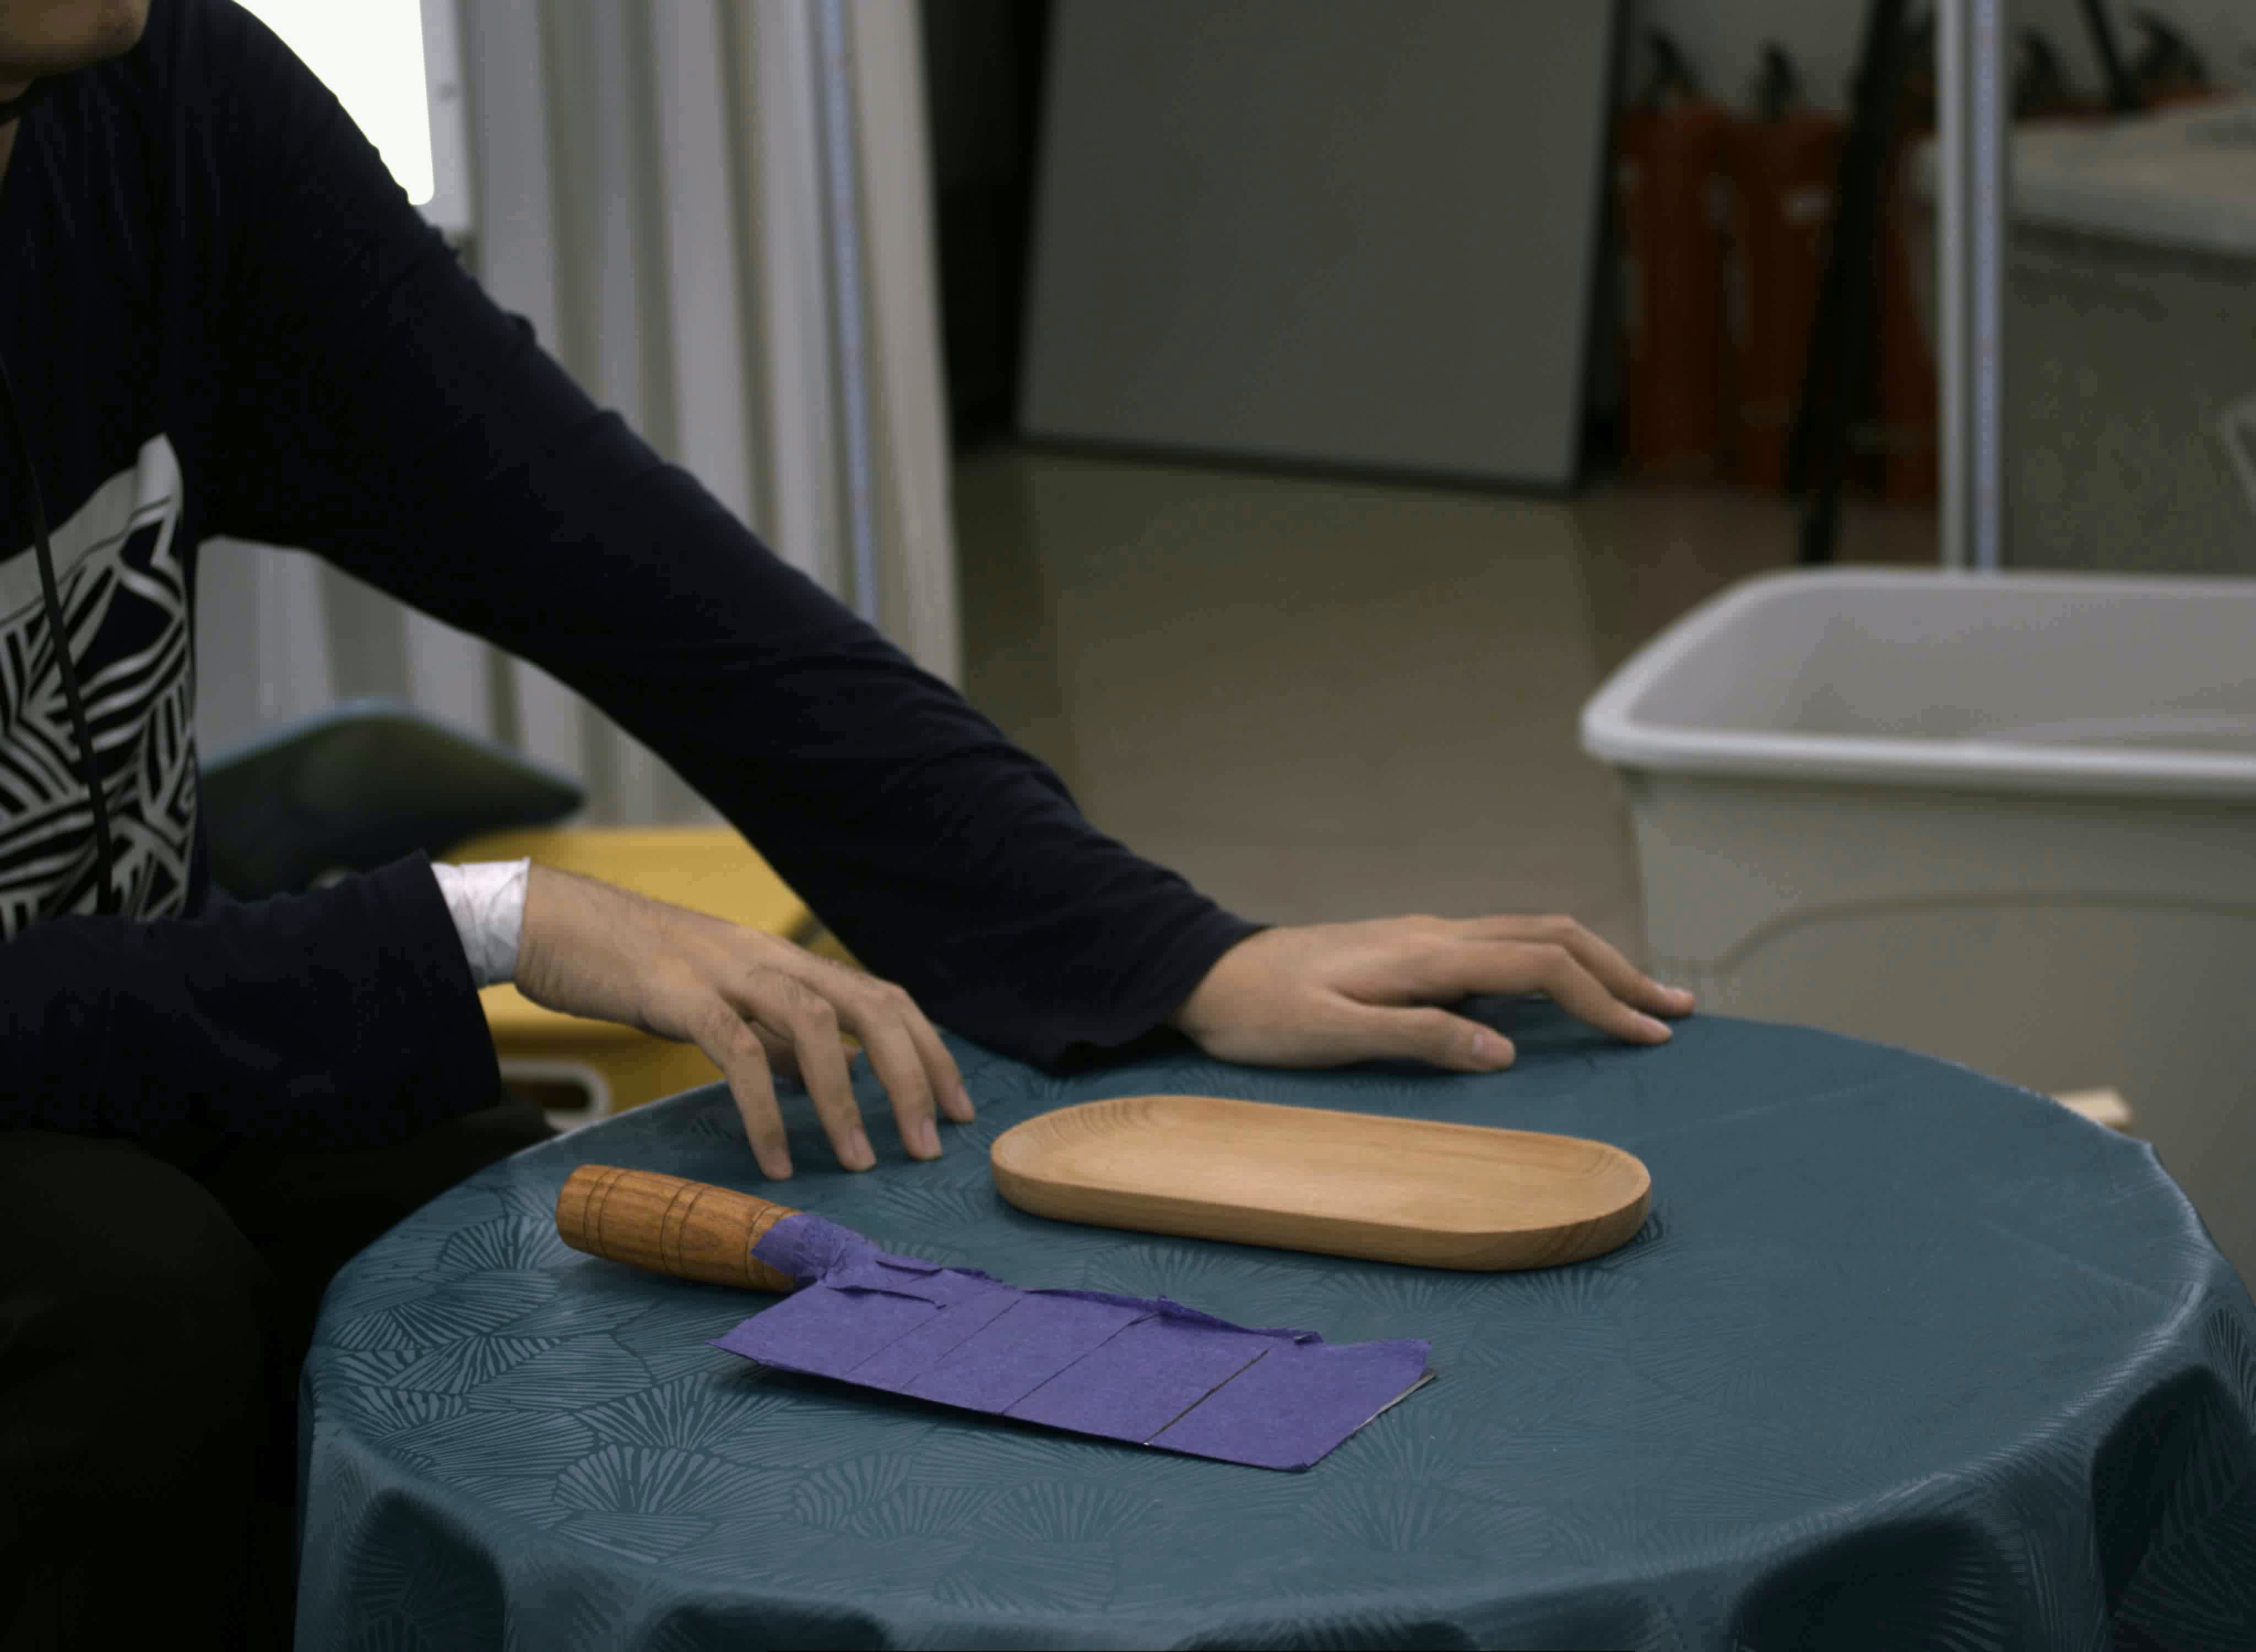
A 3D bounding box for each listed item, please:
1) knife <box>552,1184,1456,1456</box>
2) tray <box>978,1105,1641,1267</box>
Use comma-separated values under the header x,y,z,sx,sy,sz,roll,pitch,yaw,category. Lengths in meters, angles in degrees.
x,y,z,sx,sy,sz,roll,pitch,yaw,category
-0.059,0.148,1.626,0.317,0.032,0.102,5,16,32,knife
0.057,0.116,1.746,0.232,0.020,0.100,2,13,30,tray
